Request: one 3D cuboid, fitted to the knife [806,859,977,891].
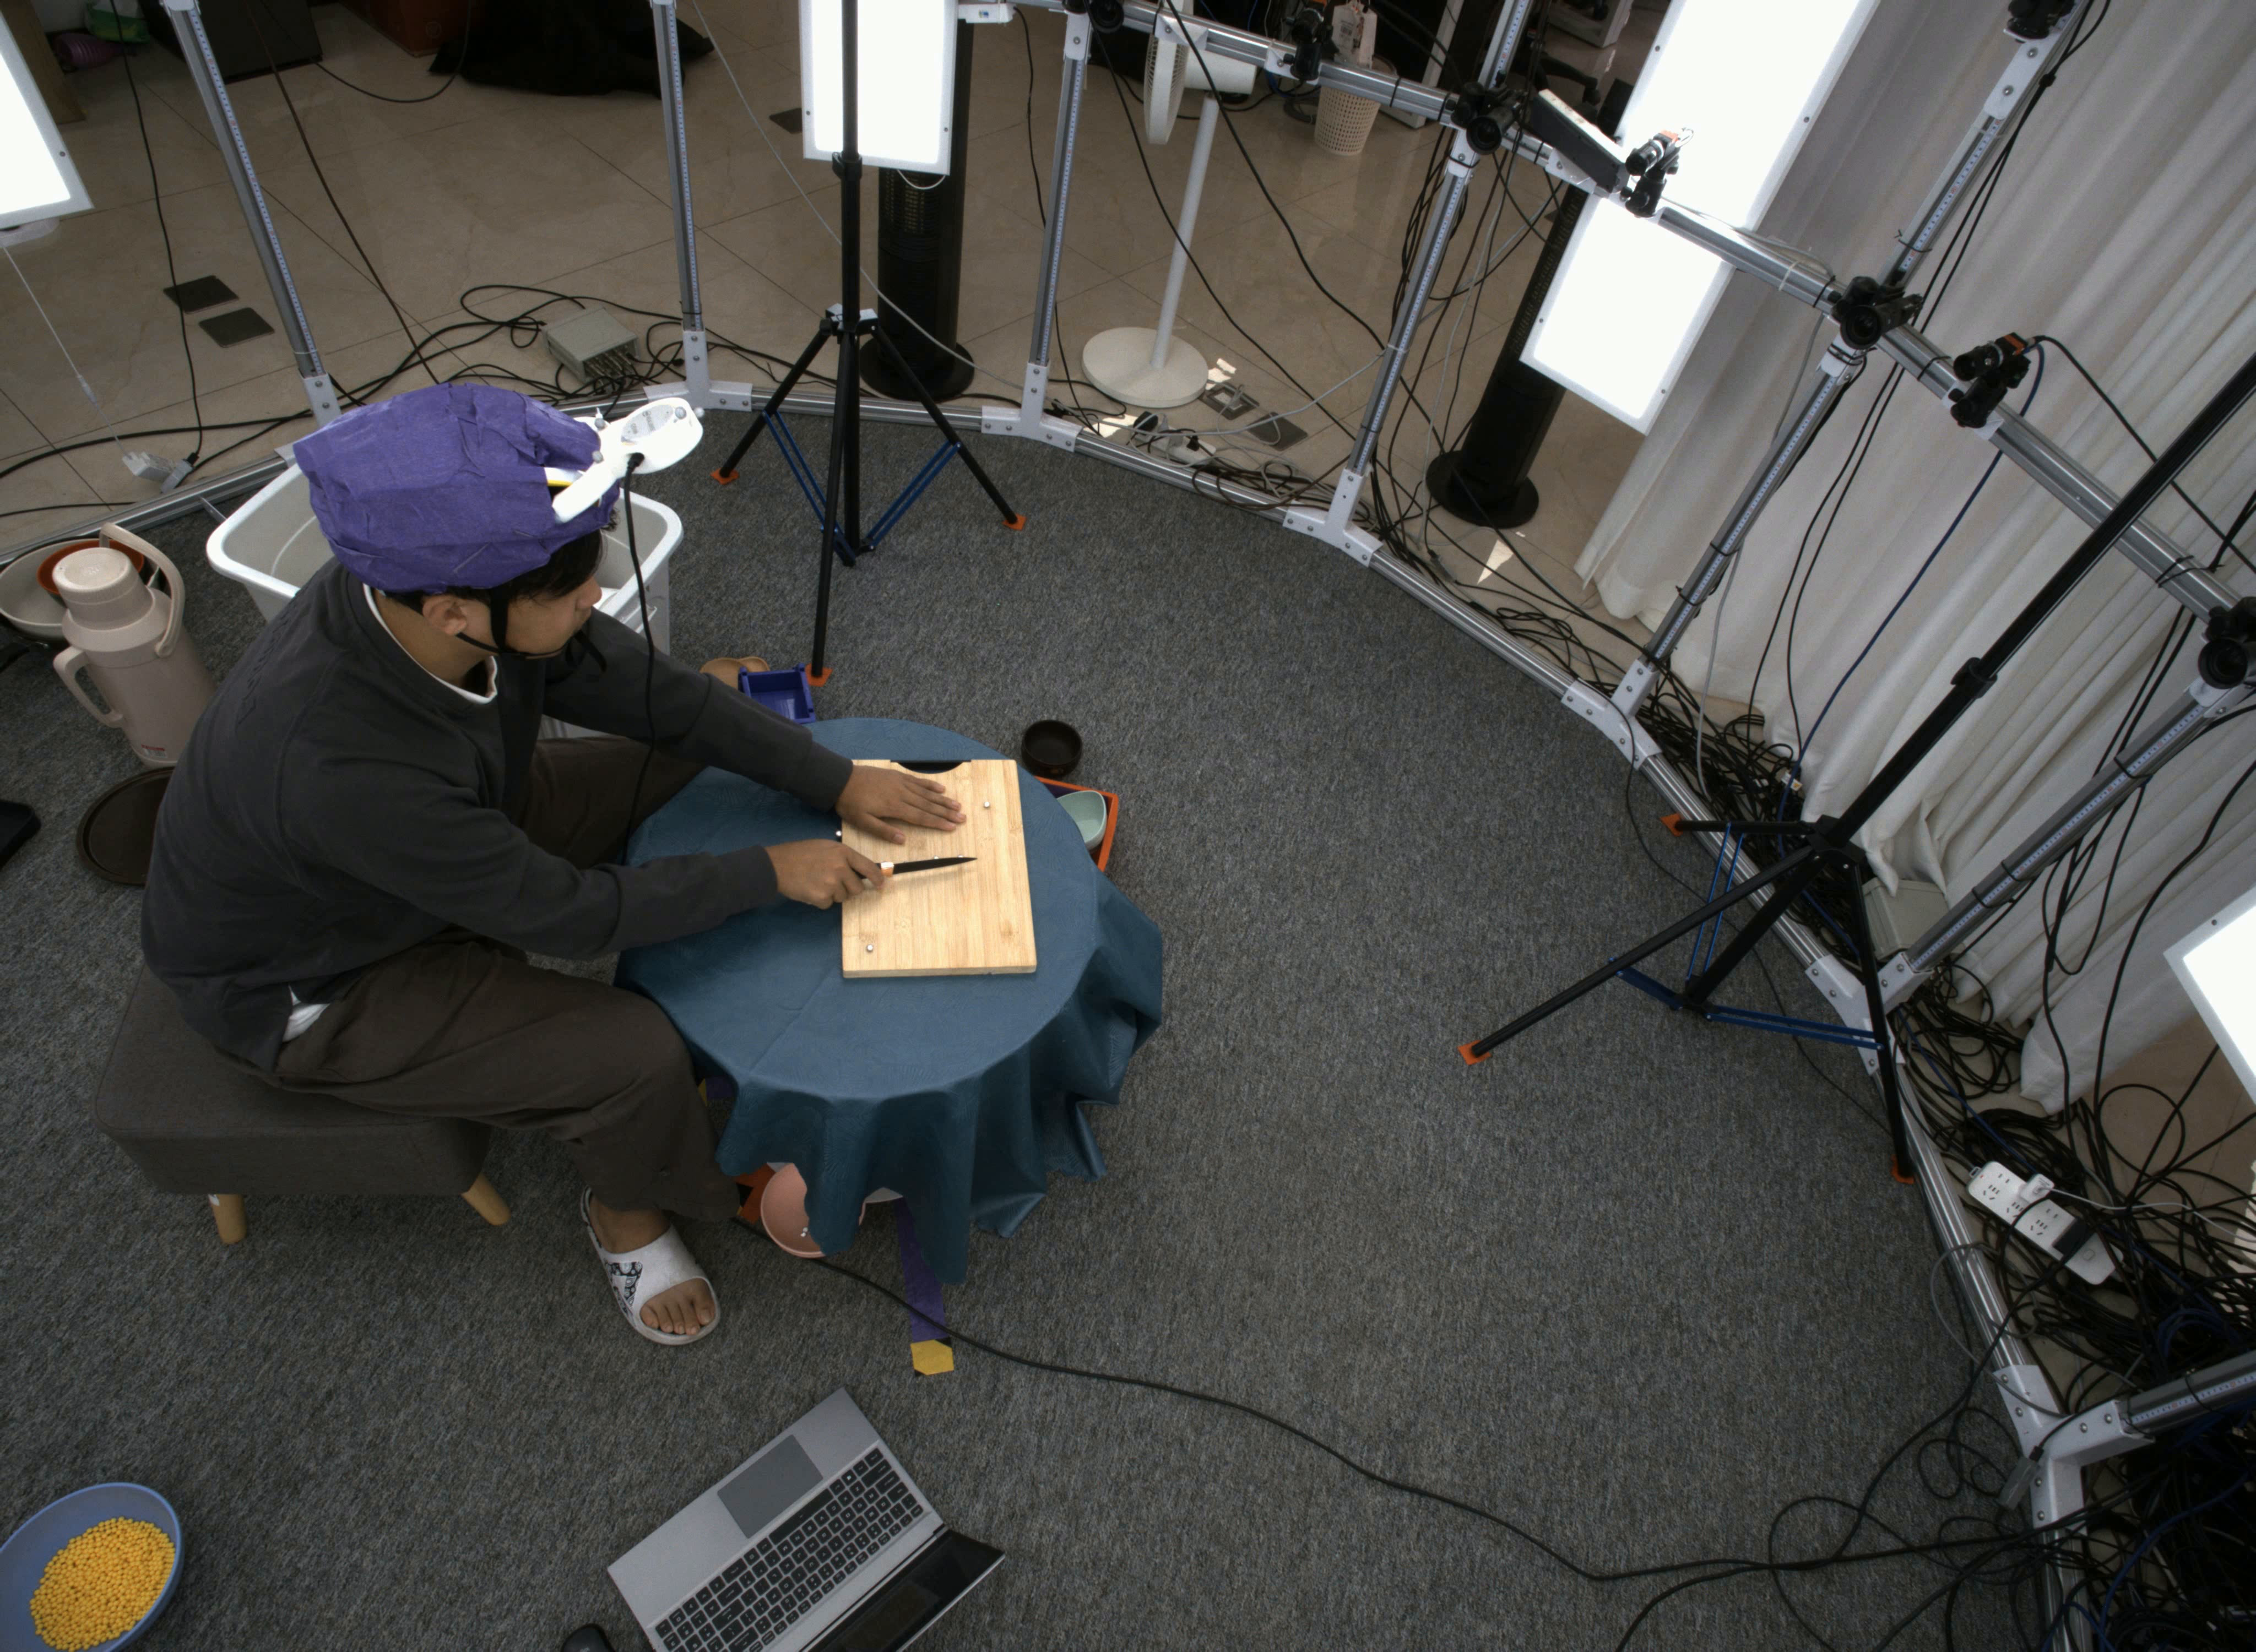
[{"bbox_3d":[-0.300,0.056,1.663,0.227,0.027,0.017,-9,53,-24],"label":"knife"}]

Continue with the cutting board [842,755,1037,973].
[{"bbox_3d":[-0.254,0.043,1.720,0.251,0.024,0.341,0,54,-15],"label":"cutting board"}]
